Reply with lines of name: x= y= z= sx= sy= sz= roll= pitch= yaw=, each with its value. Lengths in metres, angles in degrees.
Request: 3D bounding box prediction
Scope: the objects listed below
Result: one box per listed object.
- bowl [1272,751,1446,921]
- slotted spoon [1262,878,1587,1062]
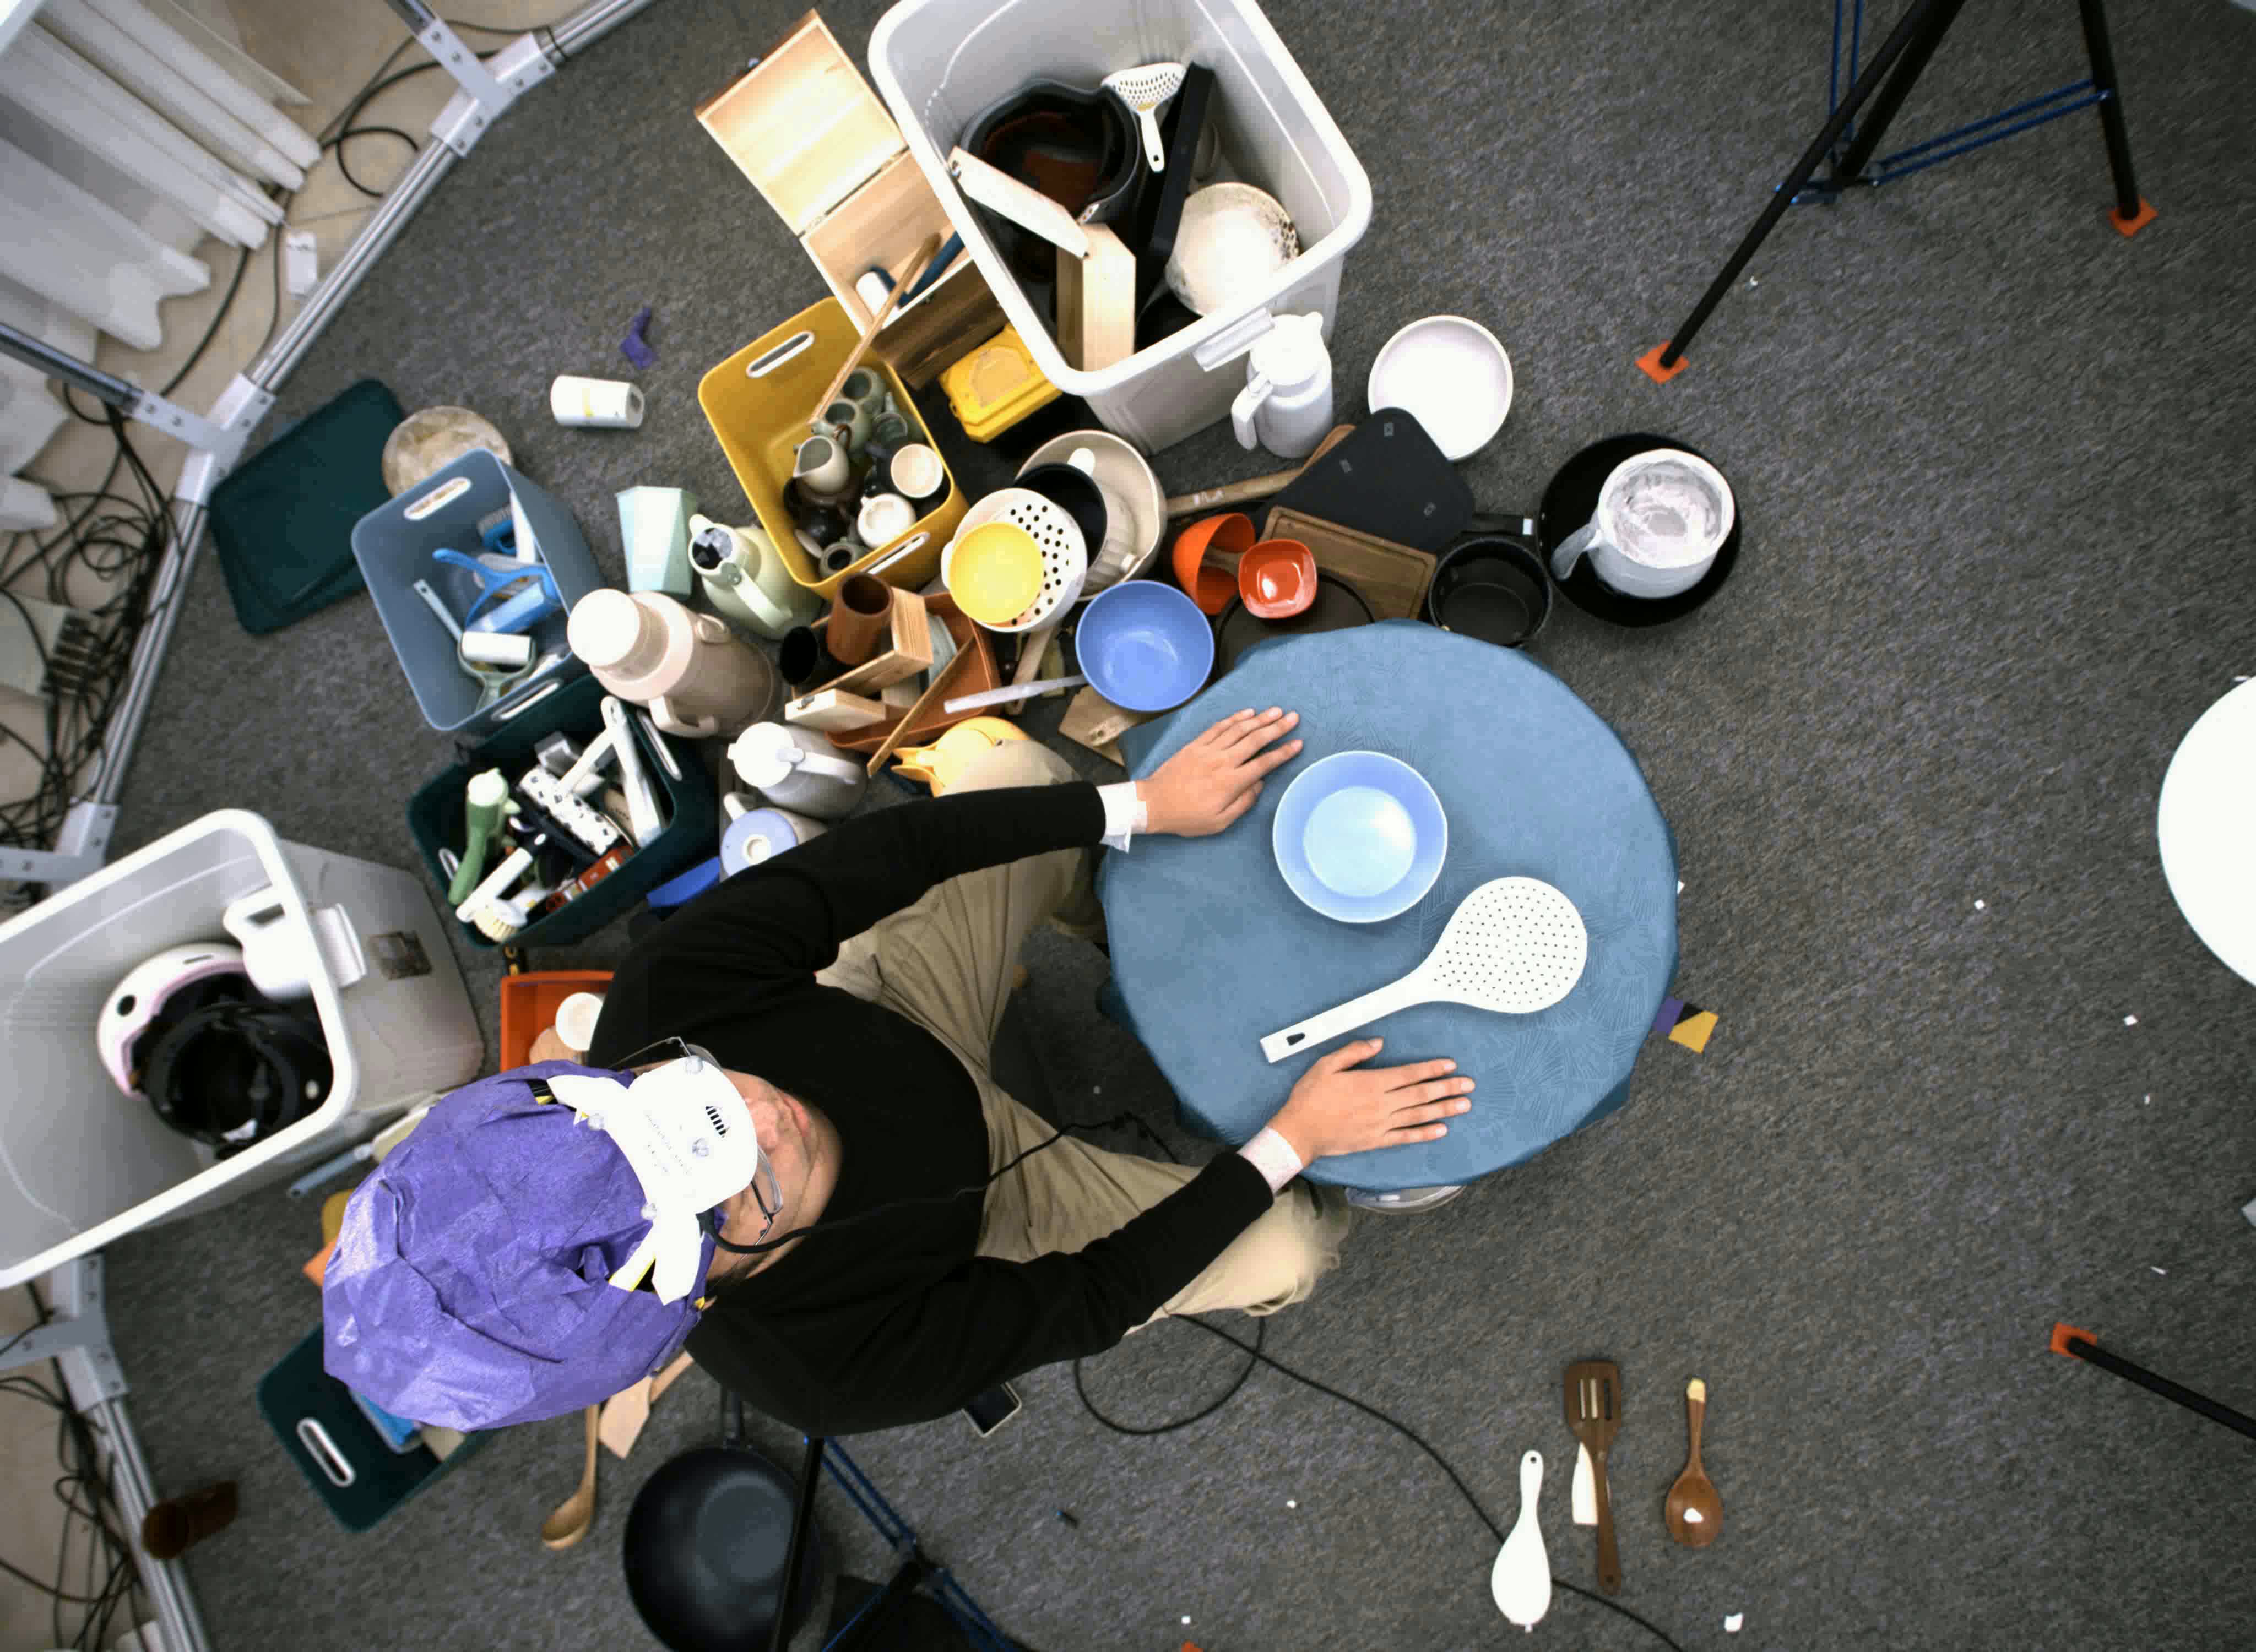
bowl: x=0.239 y=0.012 z=1.433 sx=0.177 sy=0.070 sz=0.175 roll=-1 pitch=86 yaw=11
slotted spoon: x=0.301 y=0.165 z=1.426 sx=0.352 sy=0.046 sz=0.135 roll=-25 pitch=82 yaw=9
